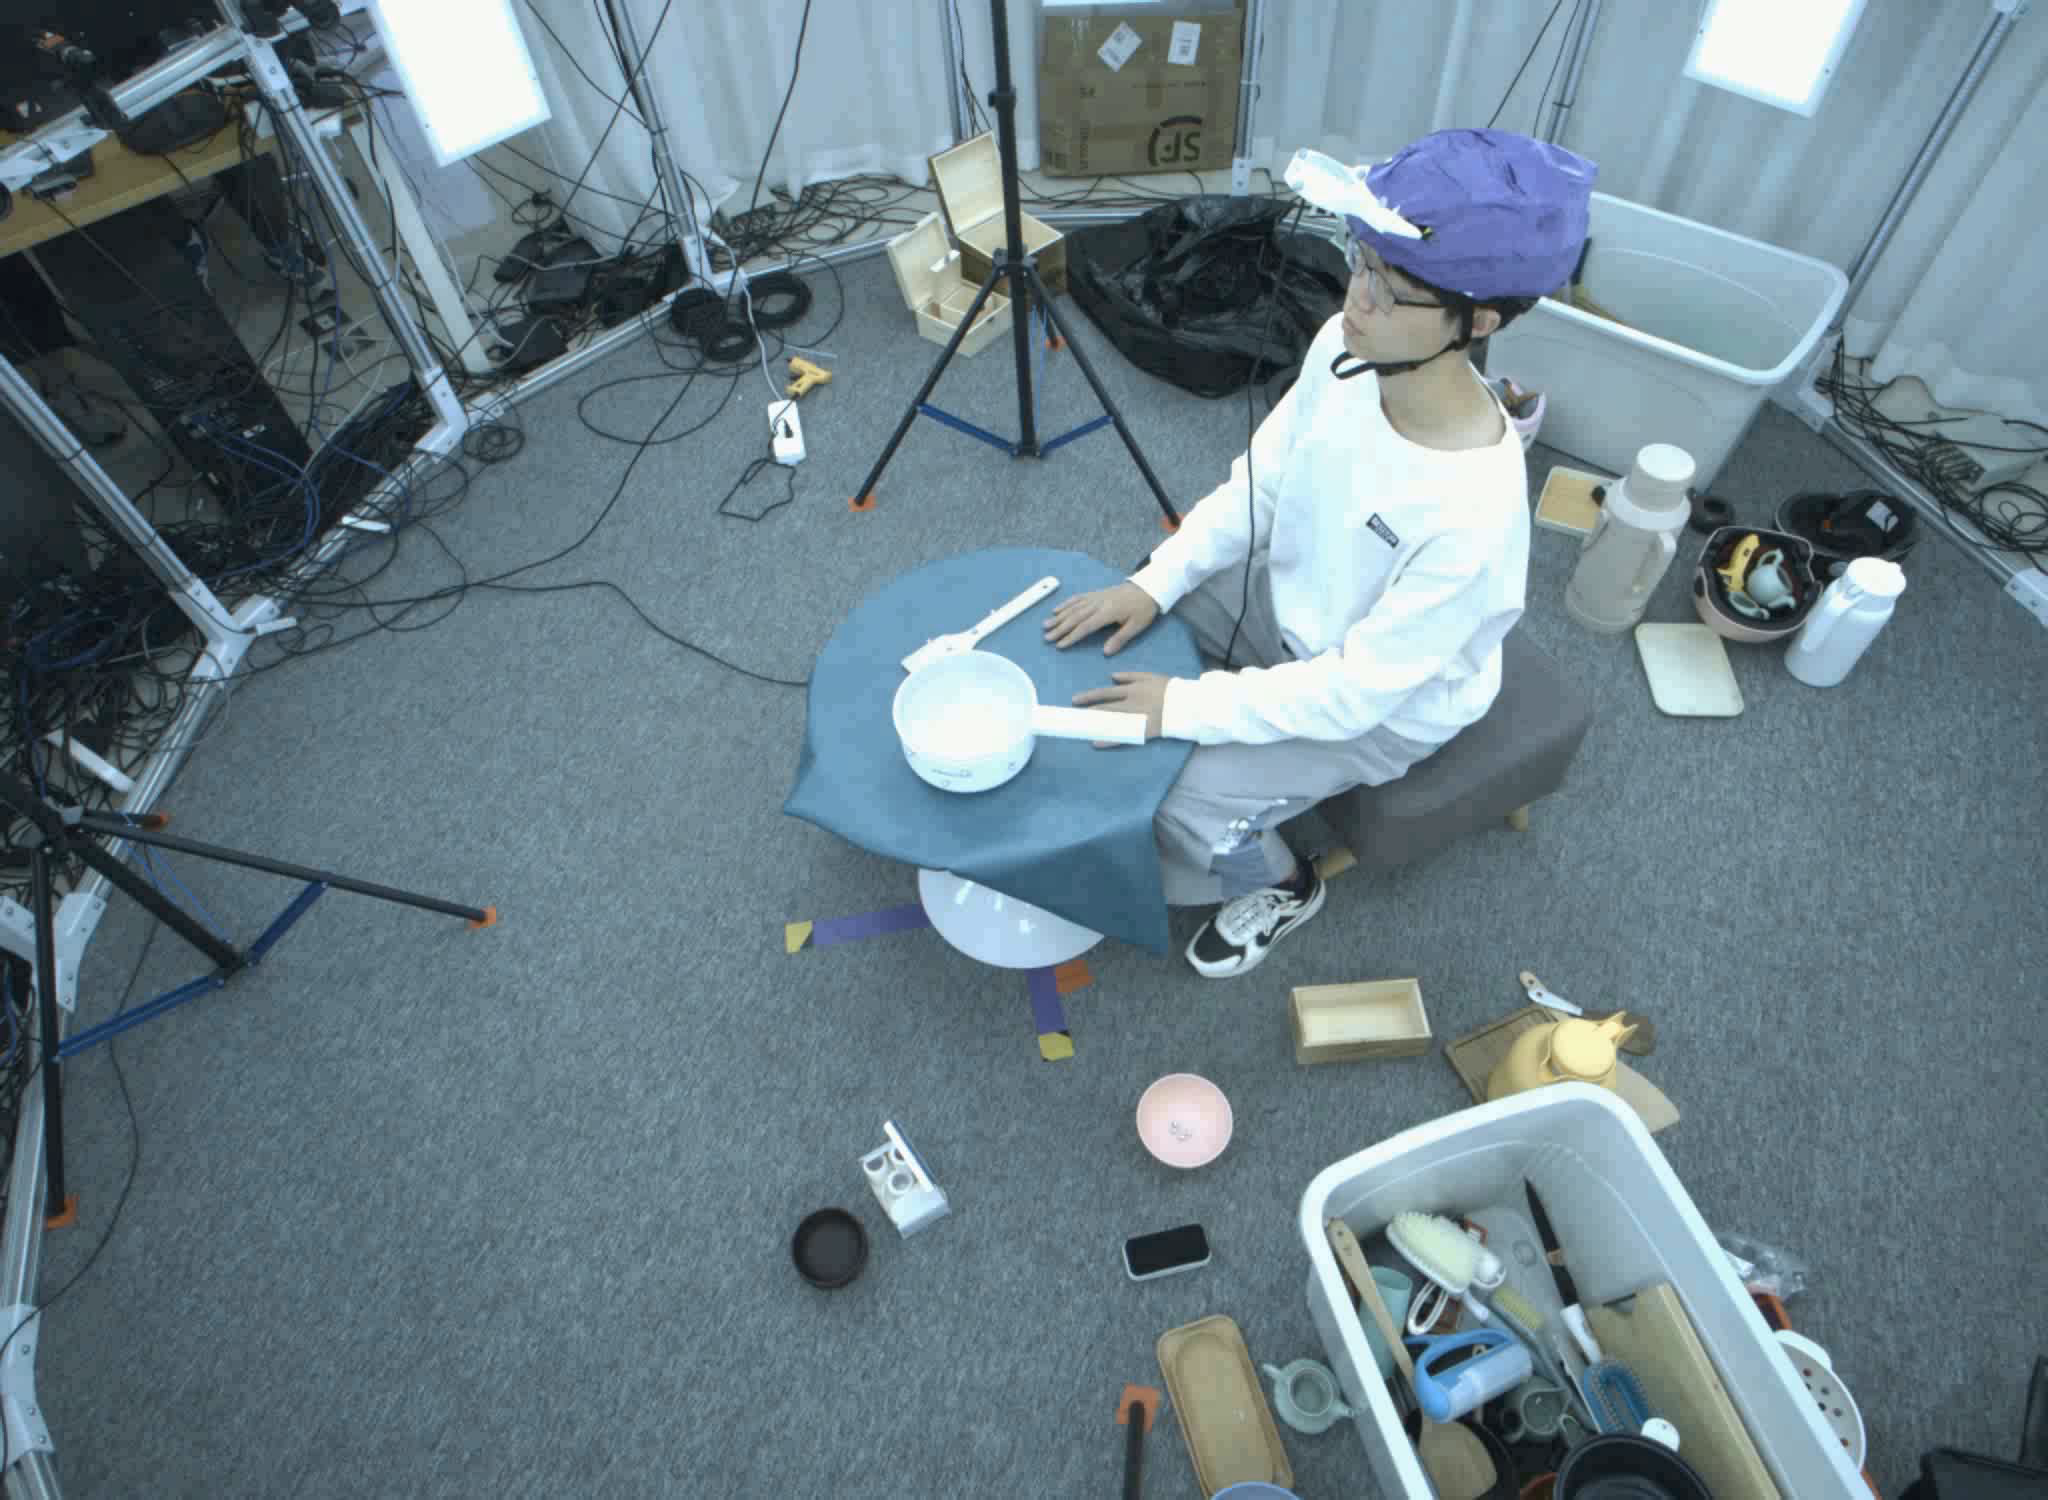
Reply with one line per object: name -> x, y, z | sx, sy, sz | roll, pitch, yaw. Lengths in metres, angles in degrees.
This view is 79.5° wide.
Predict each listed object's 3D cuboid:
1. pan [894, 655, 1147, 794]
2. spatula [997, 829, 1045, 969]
pan -> -0.005, -0.022, 1.750 | 0.354, 0.103, 0.200 | 8, 51, 4
spatula -> 0.005, 0.272, 2.269 | 0.072, 0.011, 0.289 | -7, 55, -5
